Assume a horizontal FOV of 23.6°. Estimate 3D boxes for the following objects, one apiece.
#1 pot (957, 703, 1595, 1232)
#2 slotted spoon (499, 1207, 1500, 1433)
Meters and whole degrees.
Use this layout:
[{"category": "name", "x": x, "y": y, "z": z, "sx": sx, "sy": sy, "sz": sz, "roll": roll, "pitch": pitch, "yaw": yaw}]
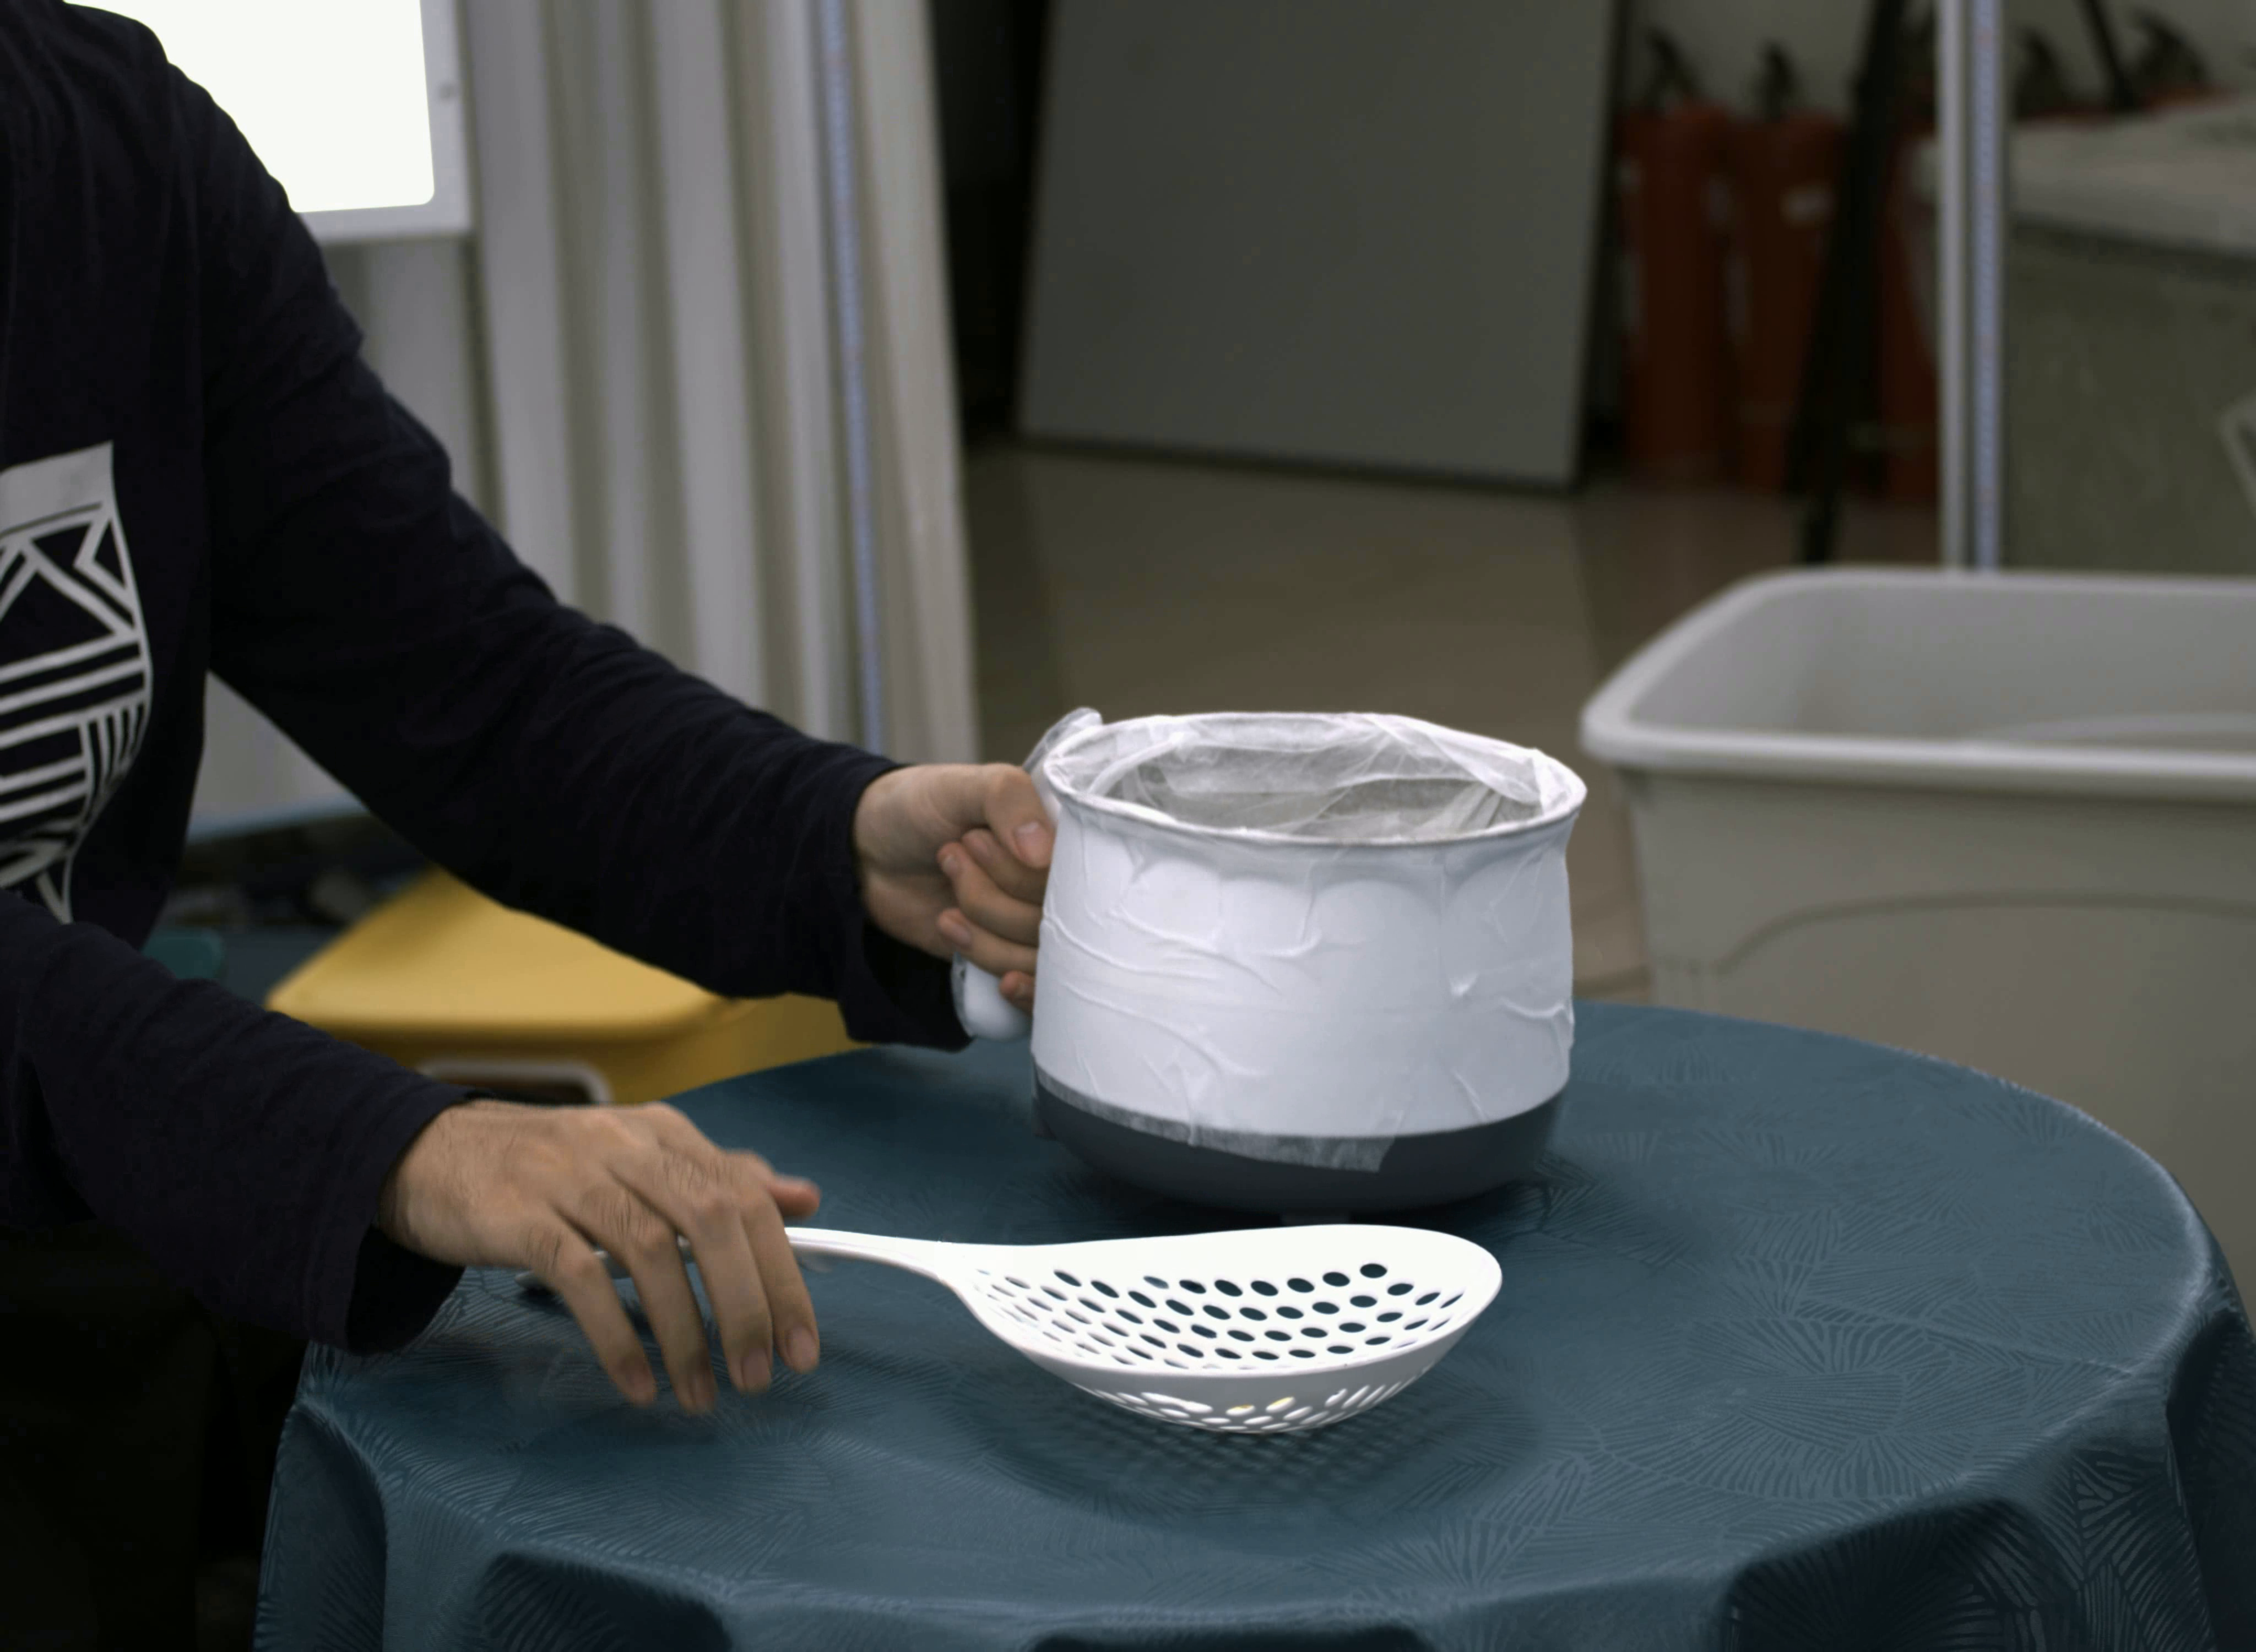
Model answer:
[{"category": "pot", "x": 0.038, "y": 0.040, "z": 1.766, "sx": 0.235, "sy": 0.138, "sz": 0.175, "roll": 14, "pitch": 16, "yaw": 39}, {"category": "slotted spoon", "x": -0.049, "y": 0.141, "z": 1.613, "sx": 0.350, "sy": 0.051, "sz": 0.134, "roll": 6, "pitch": 18, "yaw": 34}]
